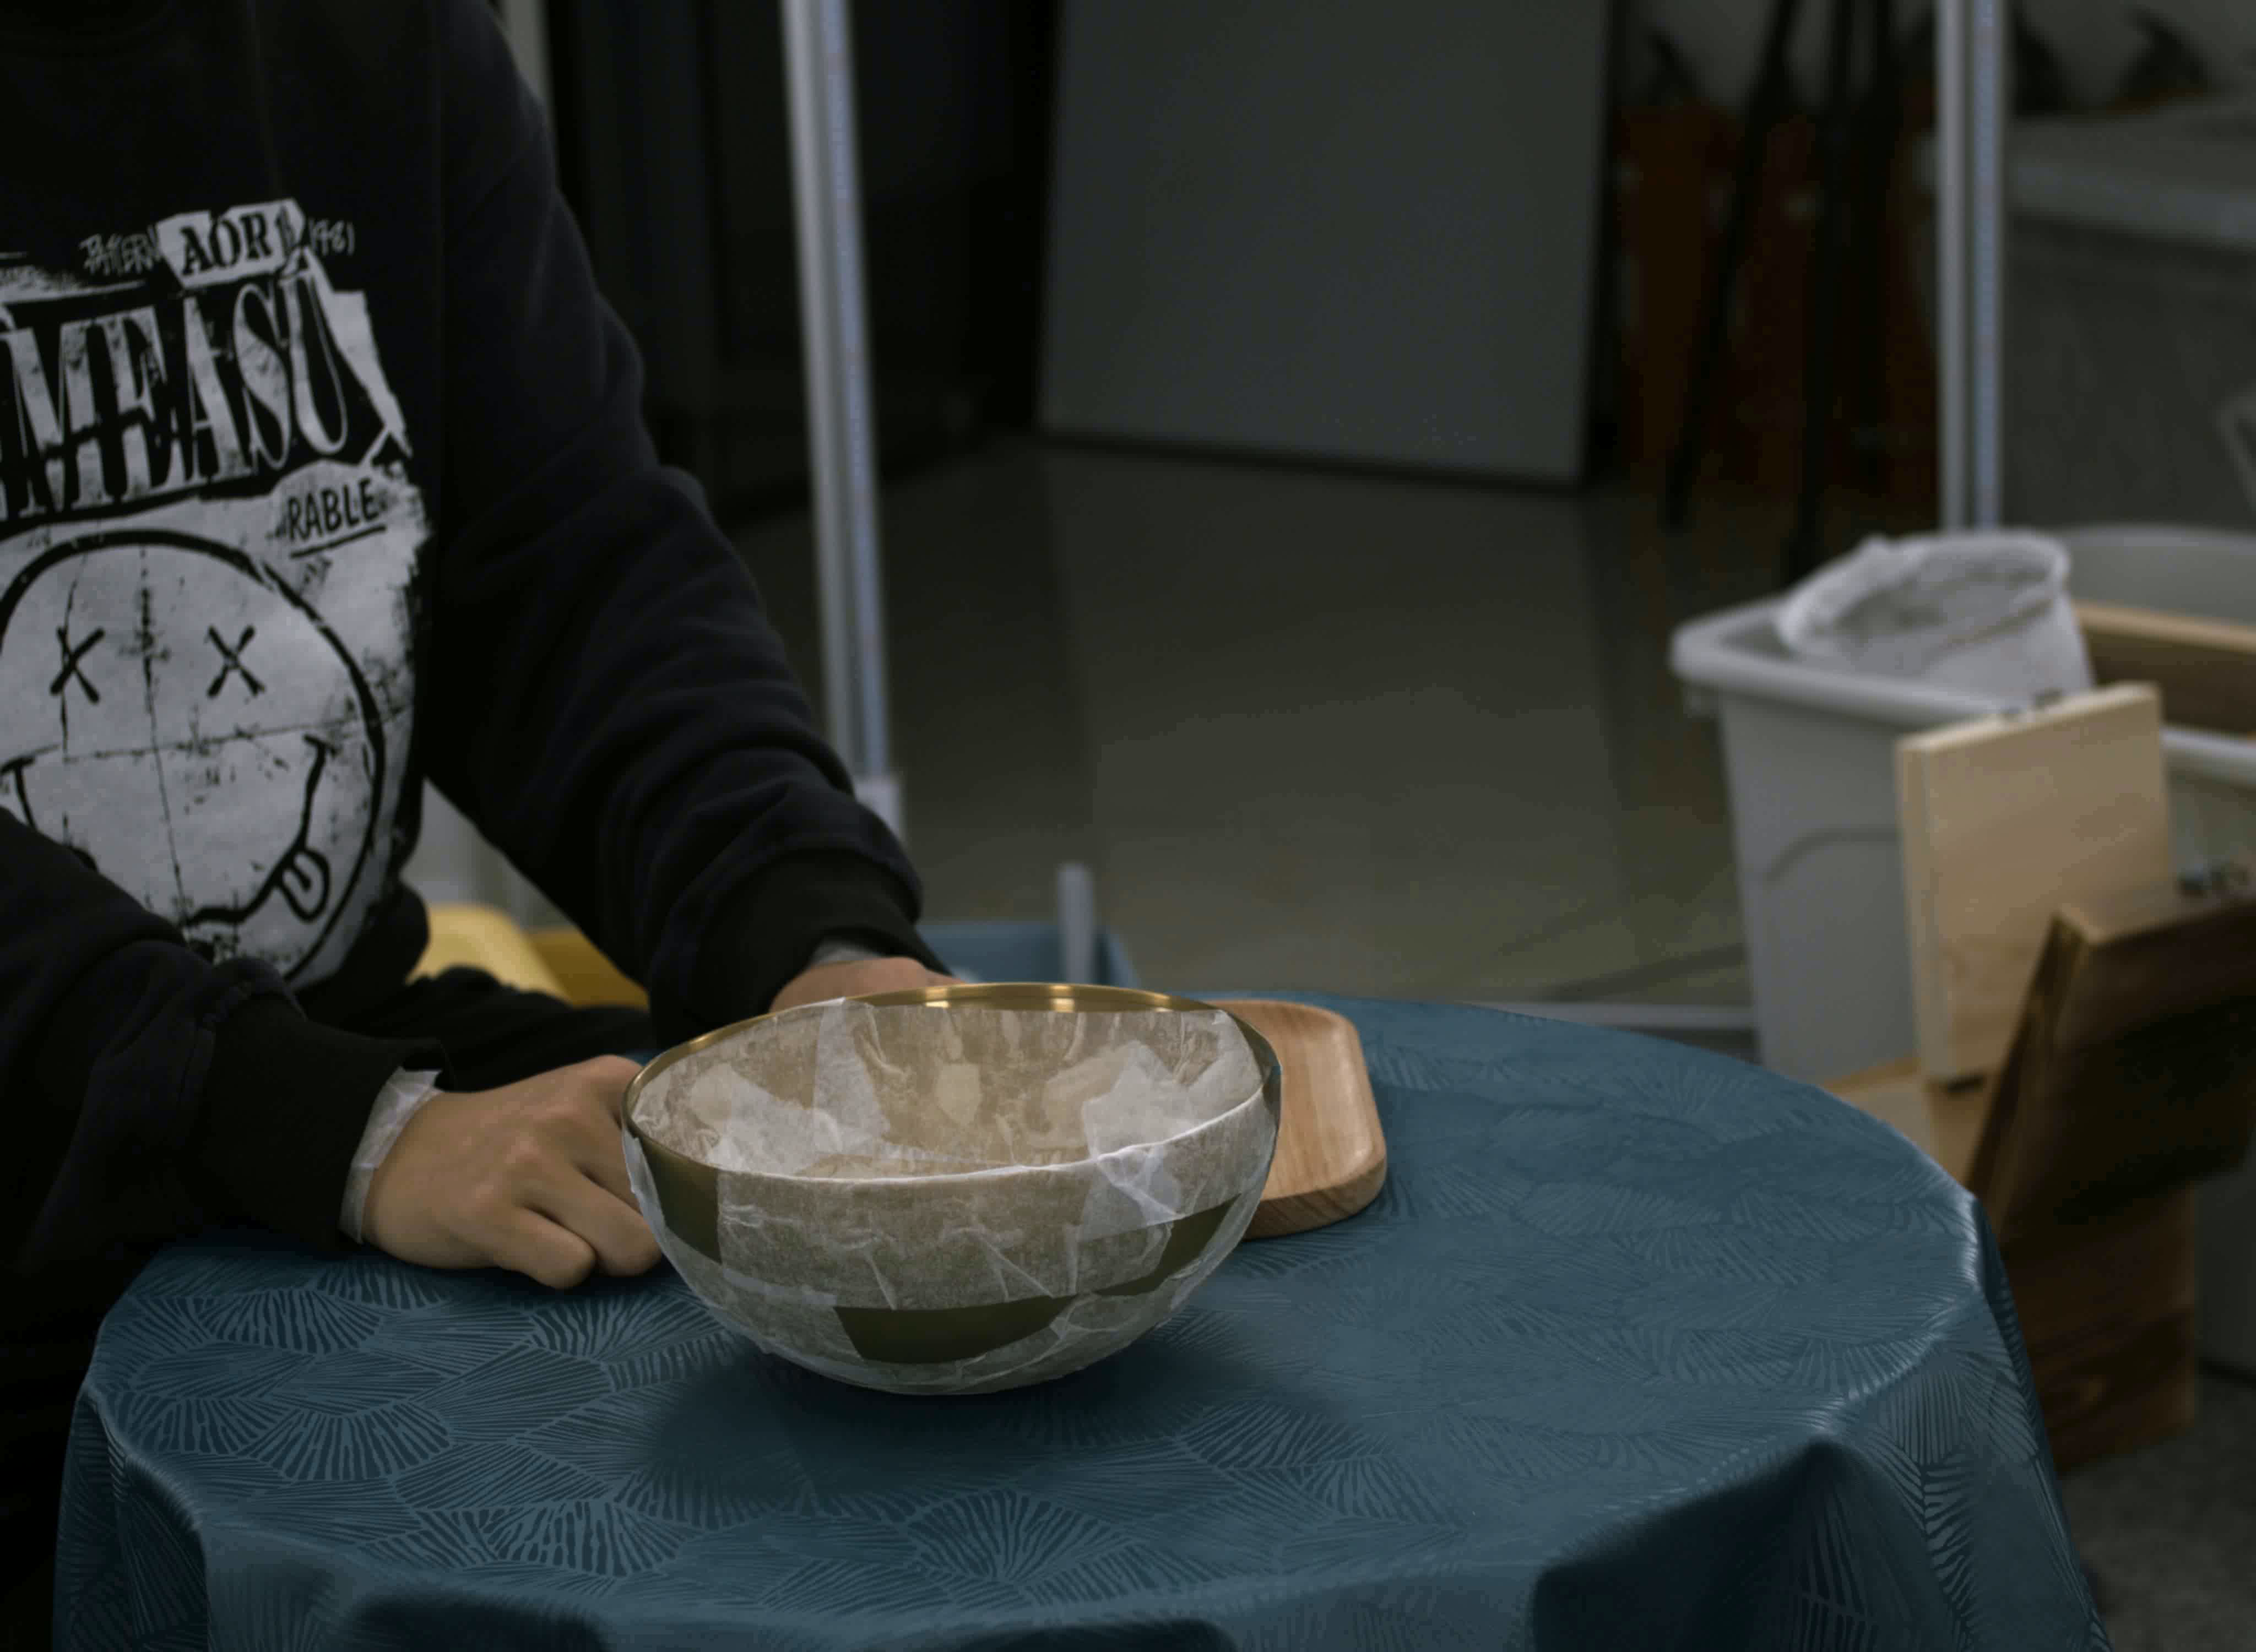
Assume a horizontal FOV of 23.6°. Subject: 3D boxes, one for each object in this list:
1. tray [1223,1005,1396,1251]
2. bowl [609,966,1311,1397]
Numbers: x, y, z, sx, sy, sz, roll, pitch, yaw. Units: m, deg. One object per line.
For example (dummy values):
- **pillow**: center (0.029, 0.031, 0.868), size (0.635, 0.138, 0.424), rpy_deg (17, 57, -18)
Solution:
- **tray**: center (0.035, 0.100, 1.817), size (0.100, 0.020, 0.232), rpy_deg (-7, 16, -1)
- **bowl**: center (-0.048, 0.114, 1.617), size (0.212, 0.095, 0.215), rpy_deg (-5, 14, 0)
